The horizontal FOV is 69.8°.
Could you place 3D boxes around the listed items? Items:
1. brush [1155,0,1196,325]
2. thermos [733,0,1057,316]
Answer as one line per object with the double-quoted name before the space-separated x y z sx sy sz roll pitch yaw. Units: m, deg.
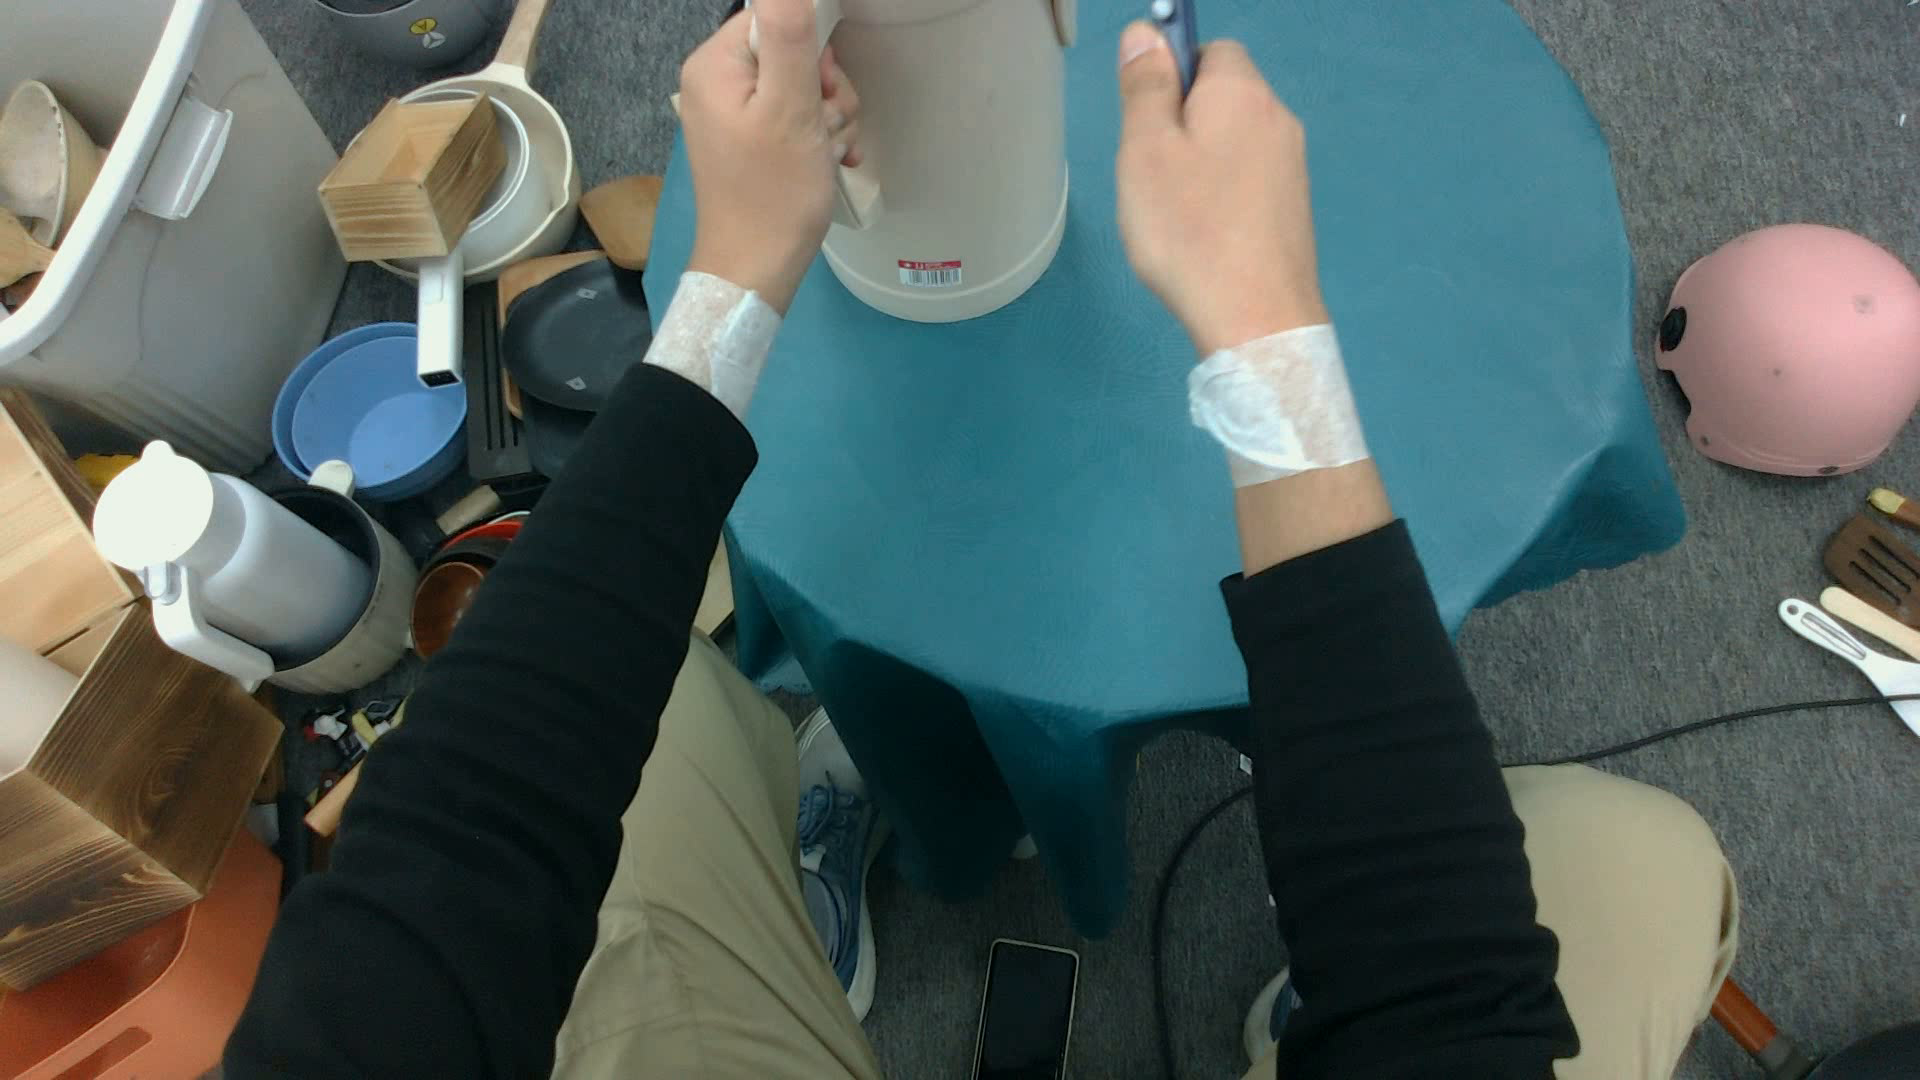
"brush" 0.090 -0.224 0.537 0.095 0.033 0.273 -12 87 17
"thermos" -0.041 -0.263 0.677 0.175 0.405 0.207 21 72 9
